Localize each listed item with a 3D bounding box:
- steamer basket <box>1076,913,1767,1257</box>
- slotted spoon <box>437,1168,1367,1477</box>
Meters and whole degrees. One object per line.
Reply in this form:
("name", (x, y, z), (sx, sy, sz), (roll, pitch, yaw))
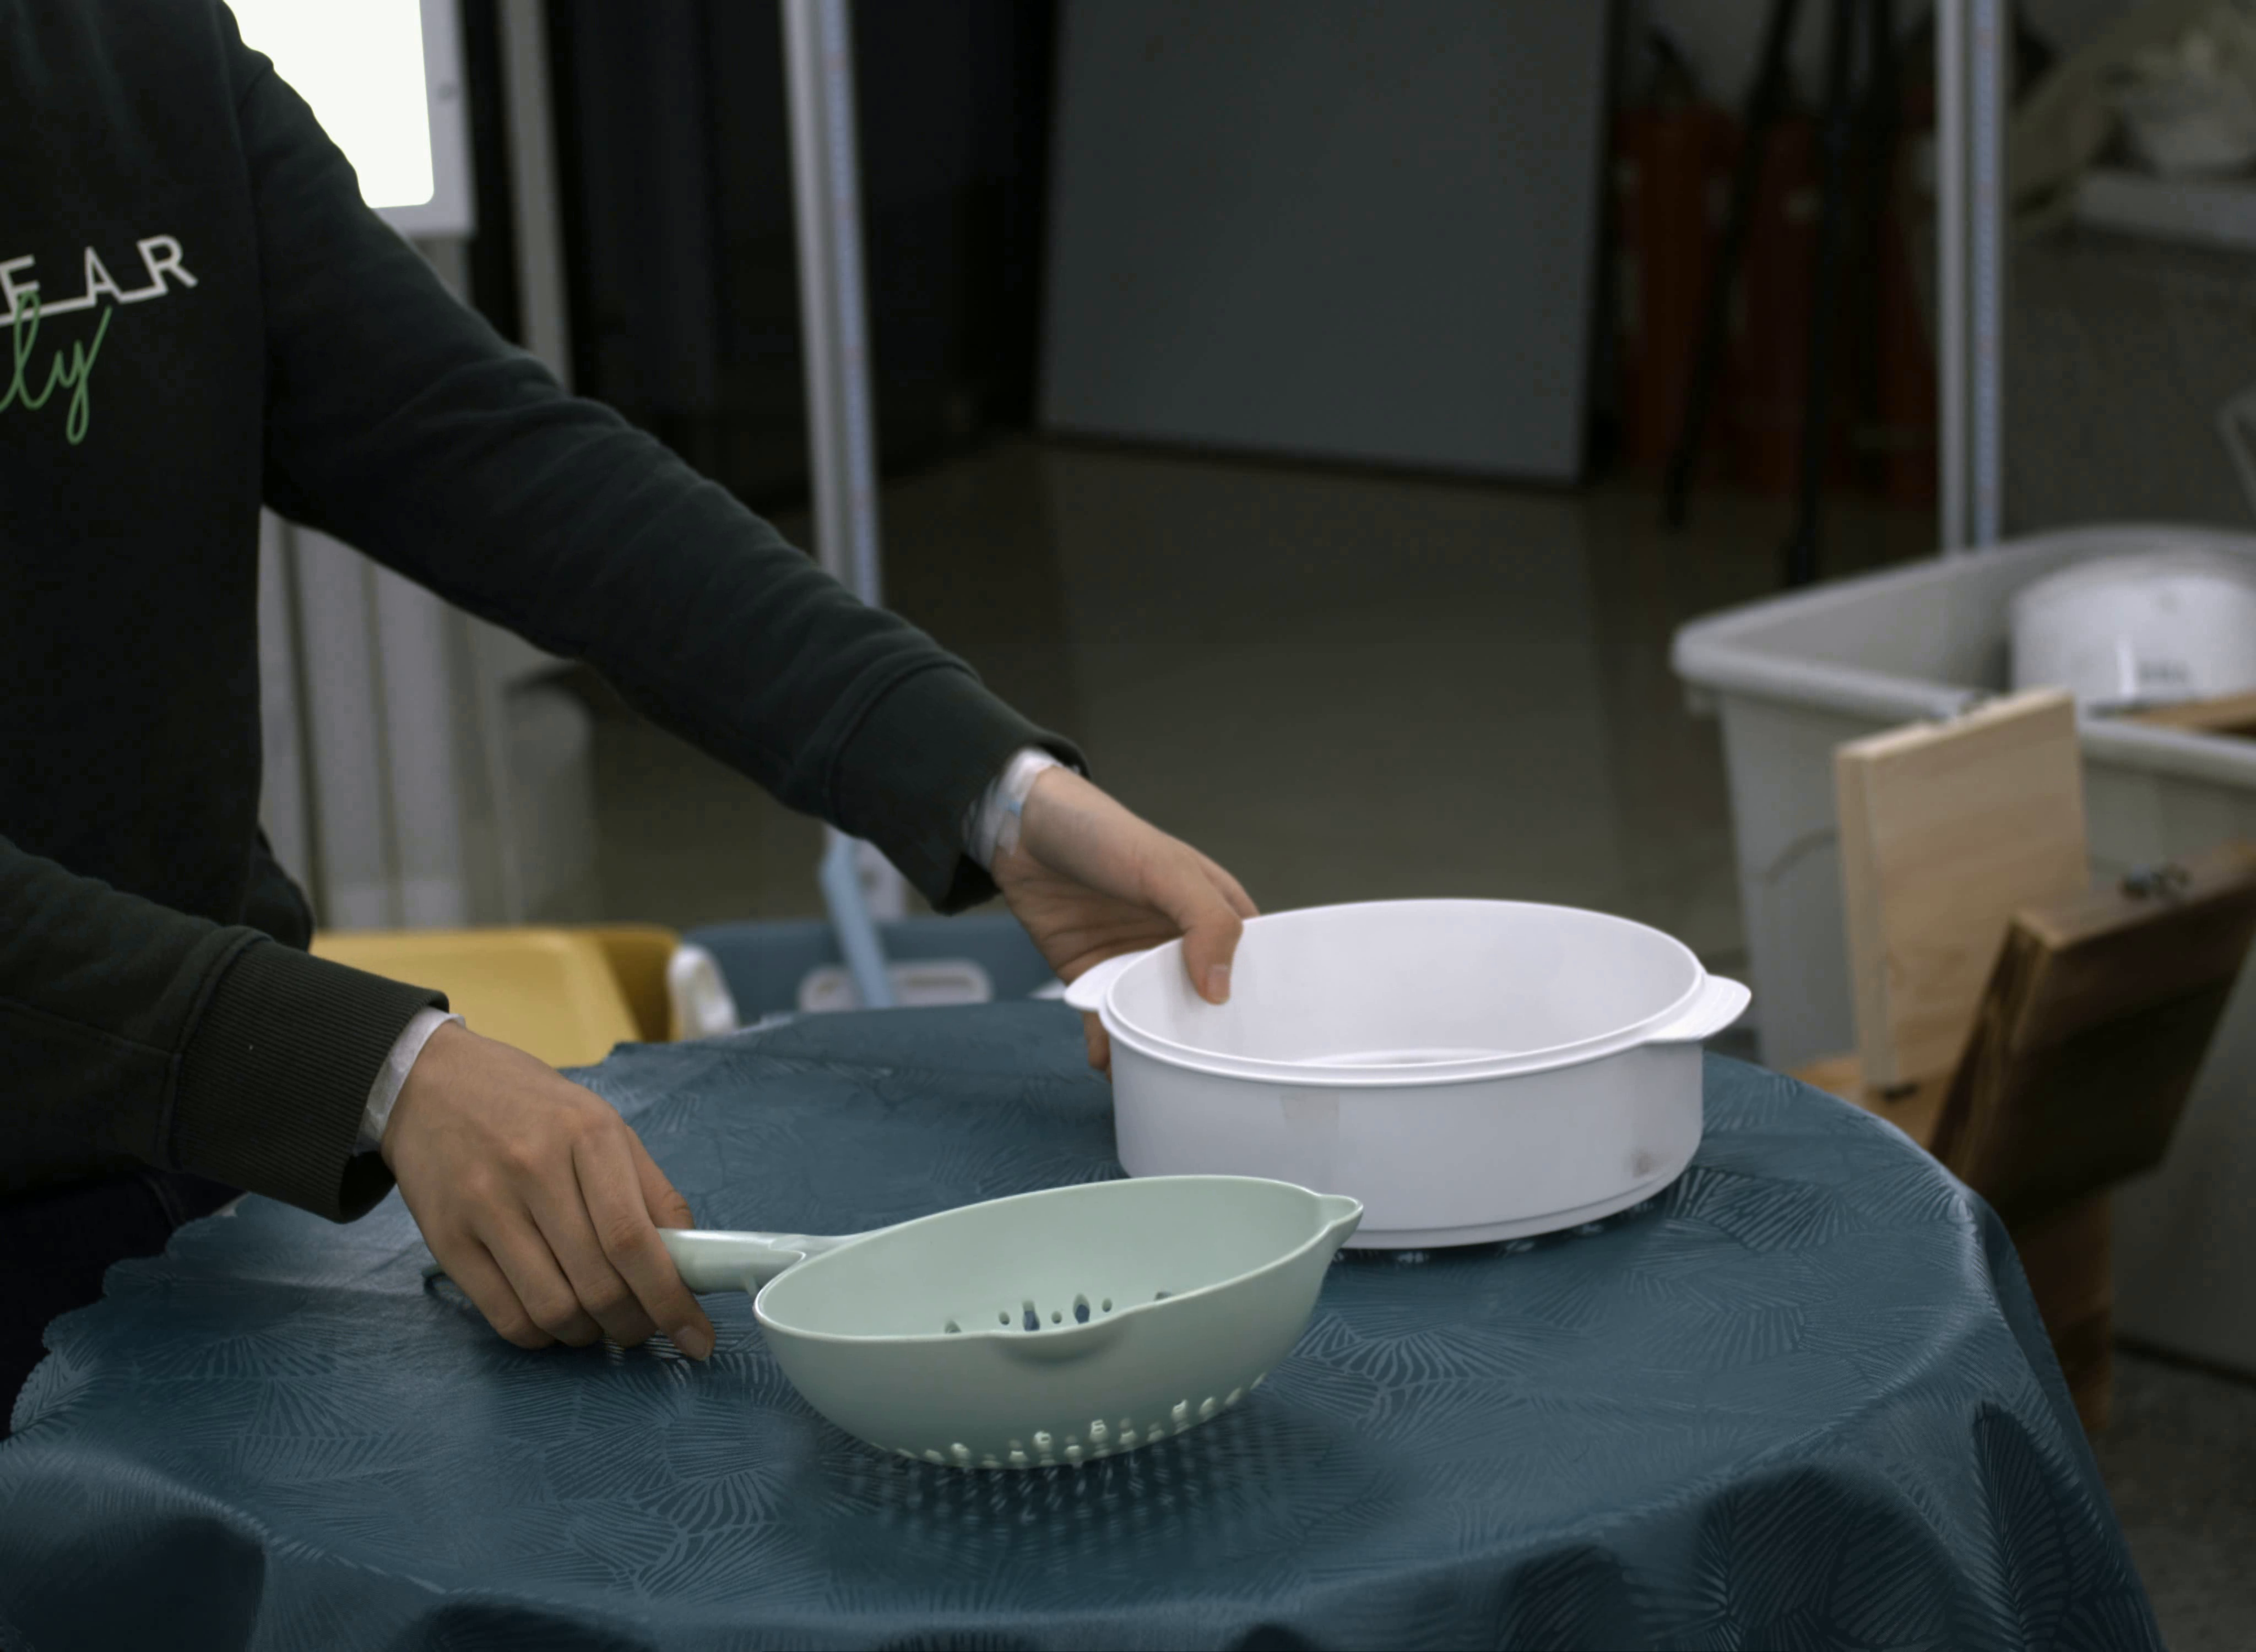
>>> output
("steamer basket", (0.096, 0.084, 1.760), (0.230, 0.070, 0.200), (1, 14, 21))
("slotted spoon", (-0.090, 0.135, 1.603), (0.362, 0.076, 0.166), (9, 19, 43))
